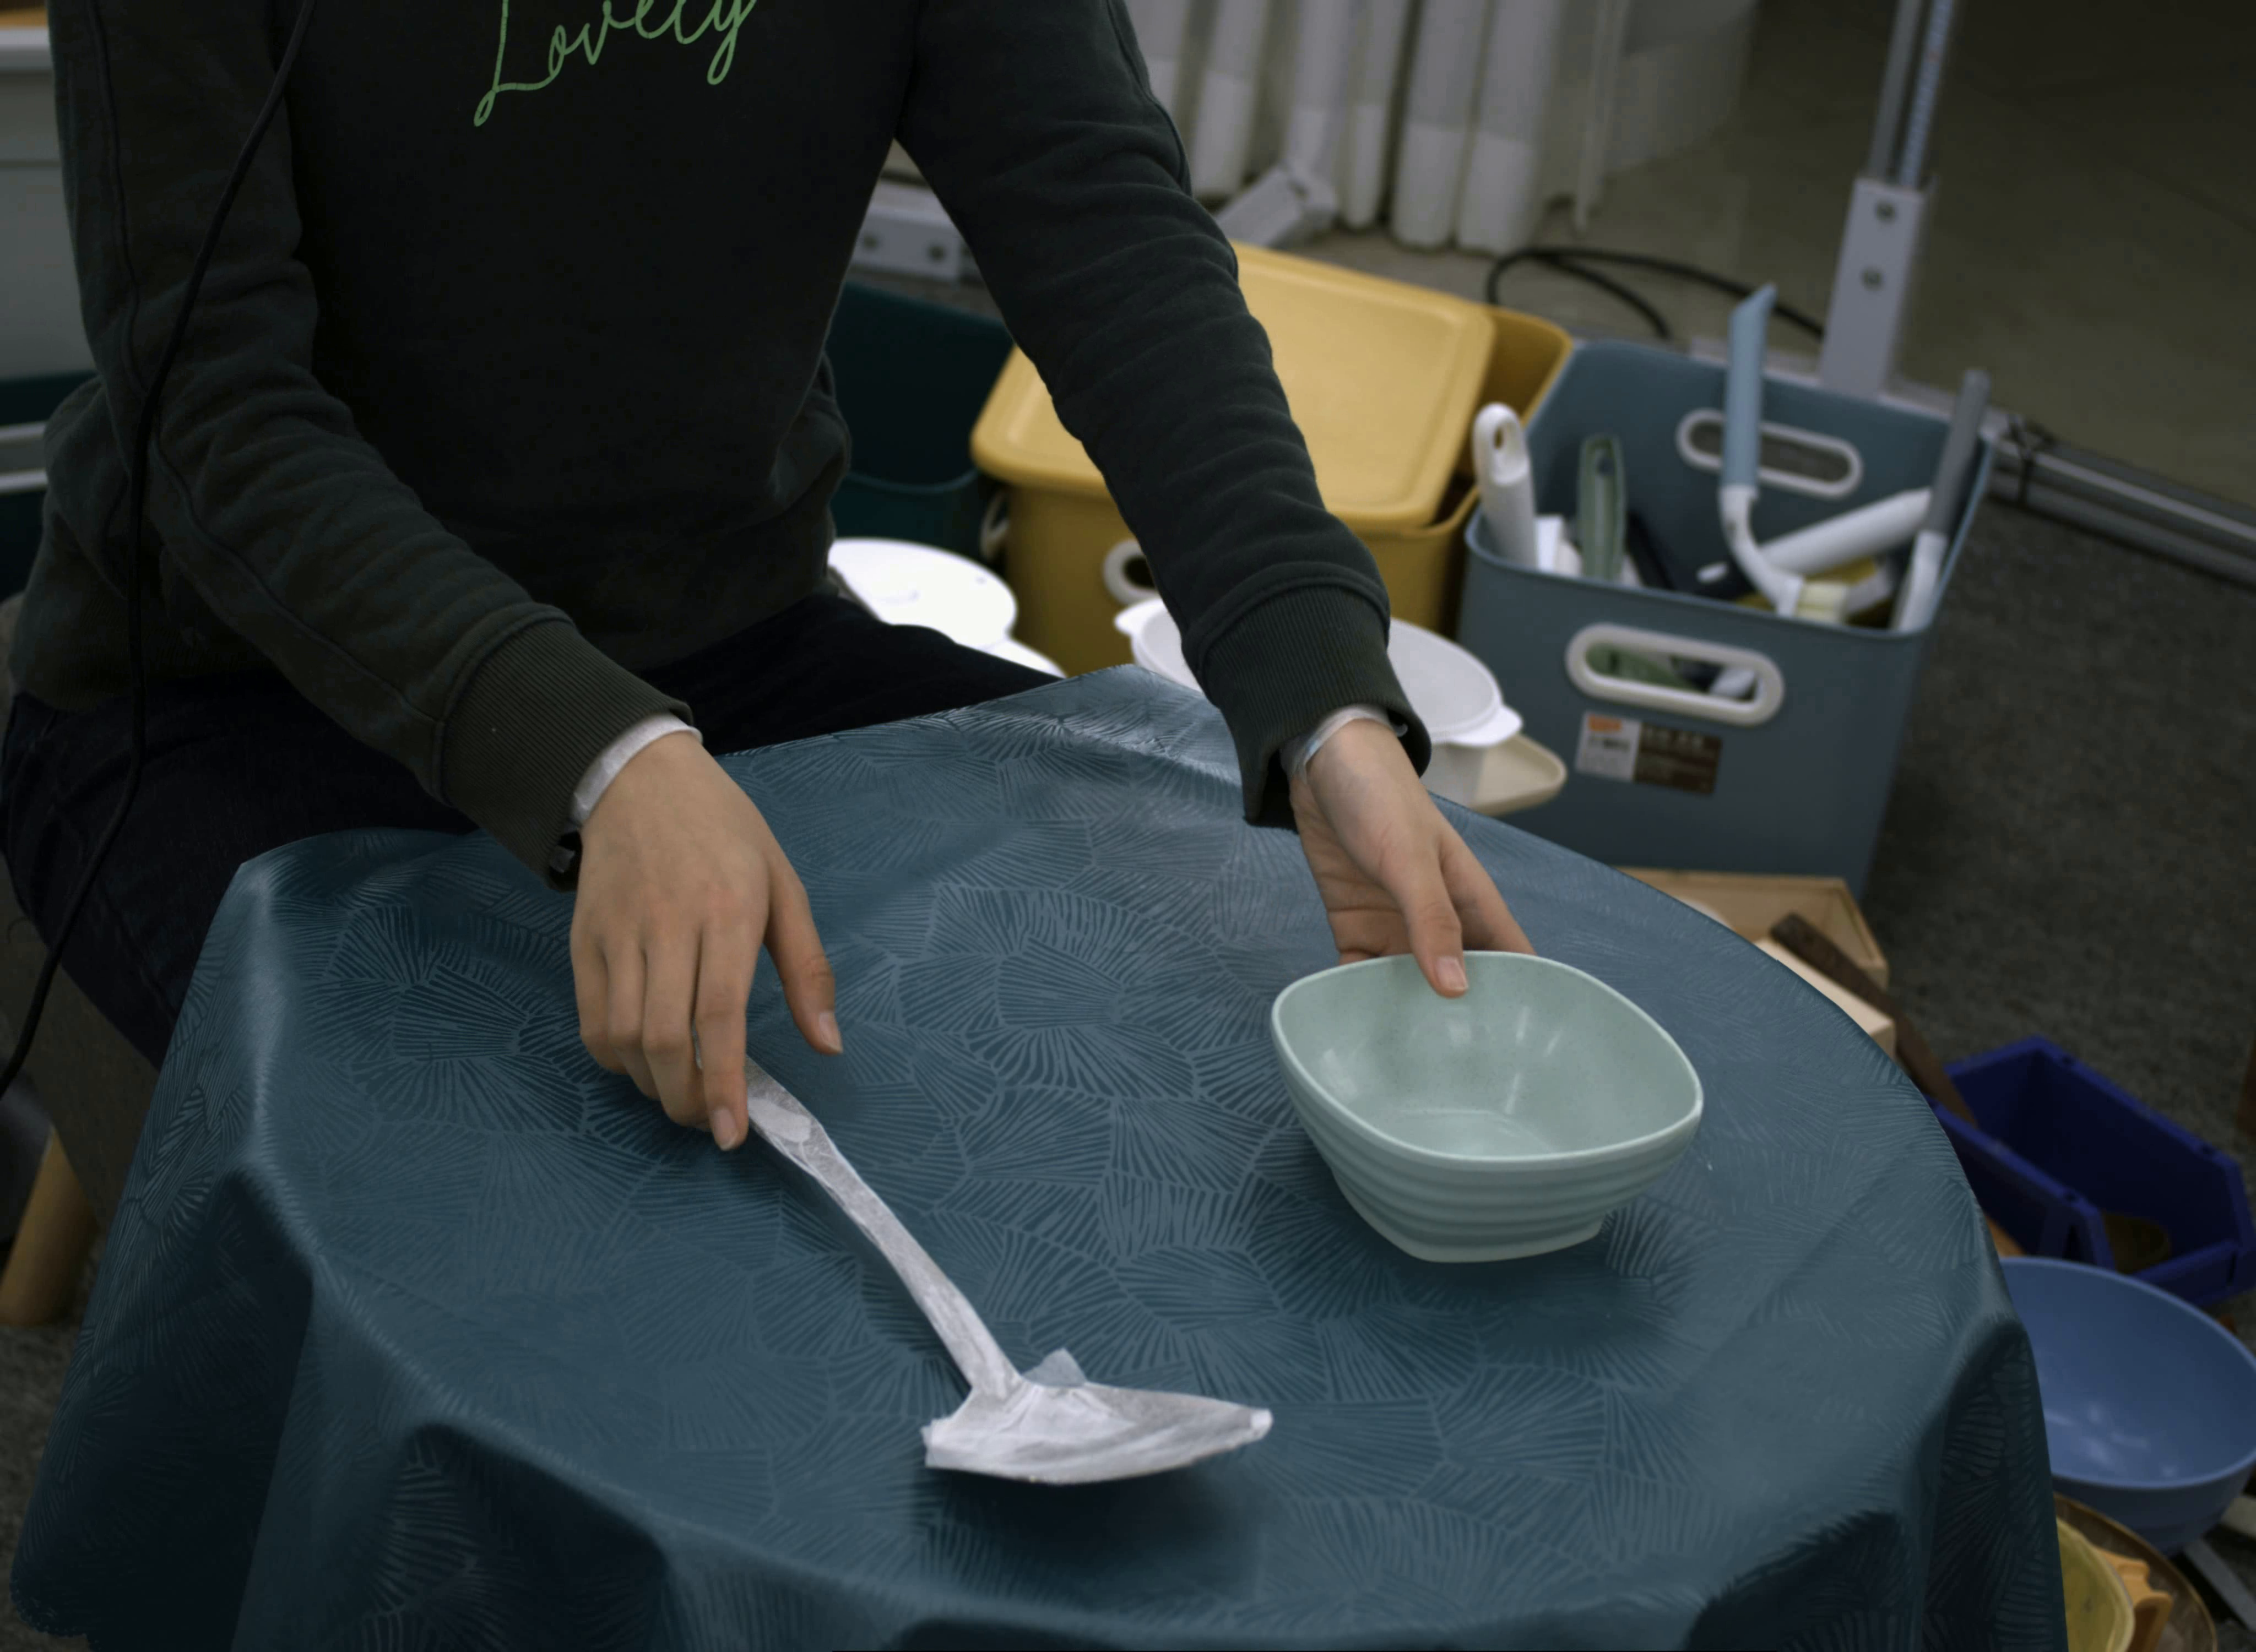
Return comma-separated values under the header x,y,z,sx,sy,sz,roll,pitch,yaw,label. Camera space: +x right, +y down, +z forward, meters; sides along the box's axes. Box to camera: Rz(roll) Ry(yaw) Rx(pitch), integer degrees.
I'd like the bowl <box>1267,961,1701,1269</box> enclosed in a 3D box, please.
x,y,z,sx,sy,sz,roll,pitch,yaw,label
0.117,0.104,1.808,0.151,0.058,0.152,6,26,-3,bowl

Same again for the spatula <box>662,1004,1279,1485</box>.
x,y,z,sx,sy,sz,roll,pitch,yaw,label
-0.076,0.128,1.732,0.098,0.044,0.368,-11,31,-27,spatula
